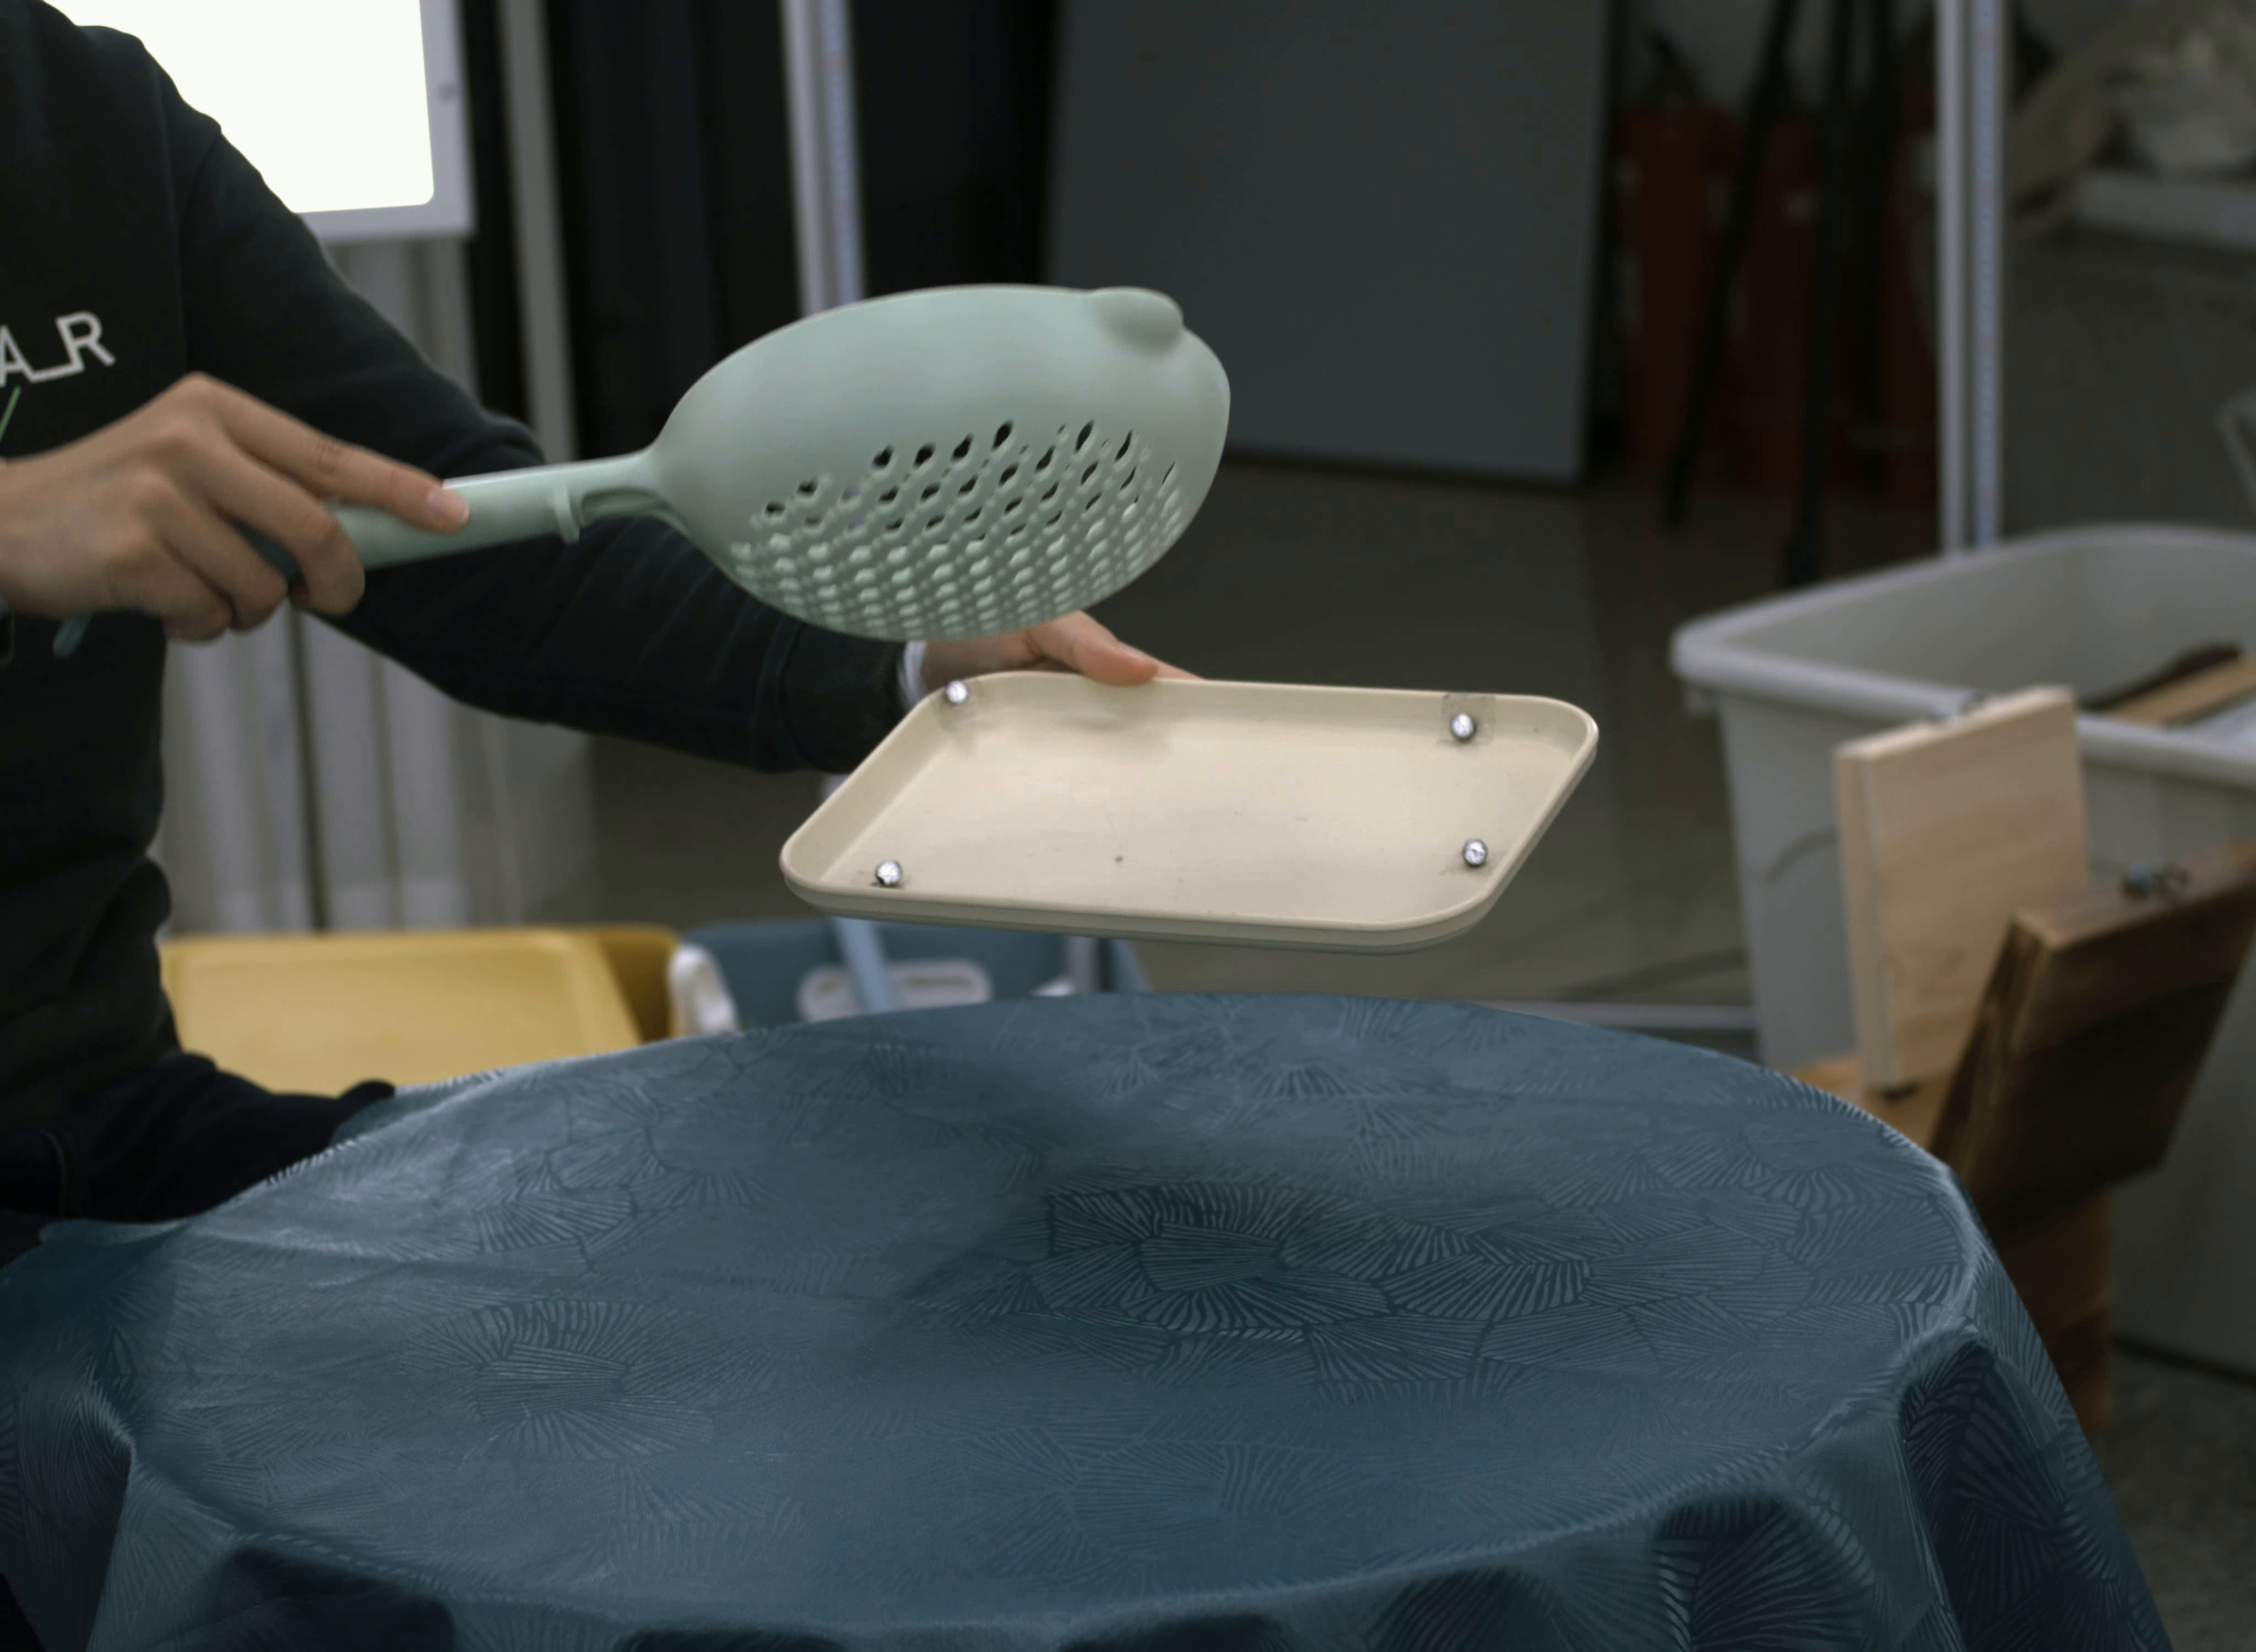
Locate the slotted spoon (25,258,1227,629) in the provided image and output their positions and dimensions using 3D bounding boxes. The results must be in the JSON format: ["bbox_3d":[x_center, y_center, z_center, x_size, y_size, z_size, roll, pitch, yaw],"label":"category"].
[{"bbox_3d":[-0.147,-0.098,1.601,0.355,0.076,0.169,-1,-25,3],"label":"slotted spoon"}]

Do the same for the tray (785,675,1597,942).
[{"bbox_3d":[0.021,-0.006,1.717,0.240,0.017,0.170,2,26,23],"label":"tray"}]
